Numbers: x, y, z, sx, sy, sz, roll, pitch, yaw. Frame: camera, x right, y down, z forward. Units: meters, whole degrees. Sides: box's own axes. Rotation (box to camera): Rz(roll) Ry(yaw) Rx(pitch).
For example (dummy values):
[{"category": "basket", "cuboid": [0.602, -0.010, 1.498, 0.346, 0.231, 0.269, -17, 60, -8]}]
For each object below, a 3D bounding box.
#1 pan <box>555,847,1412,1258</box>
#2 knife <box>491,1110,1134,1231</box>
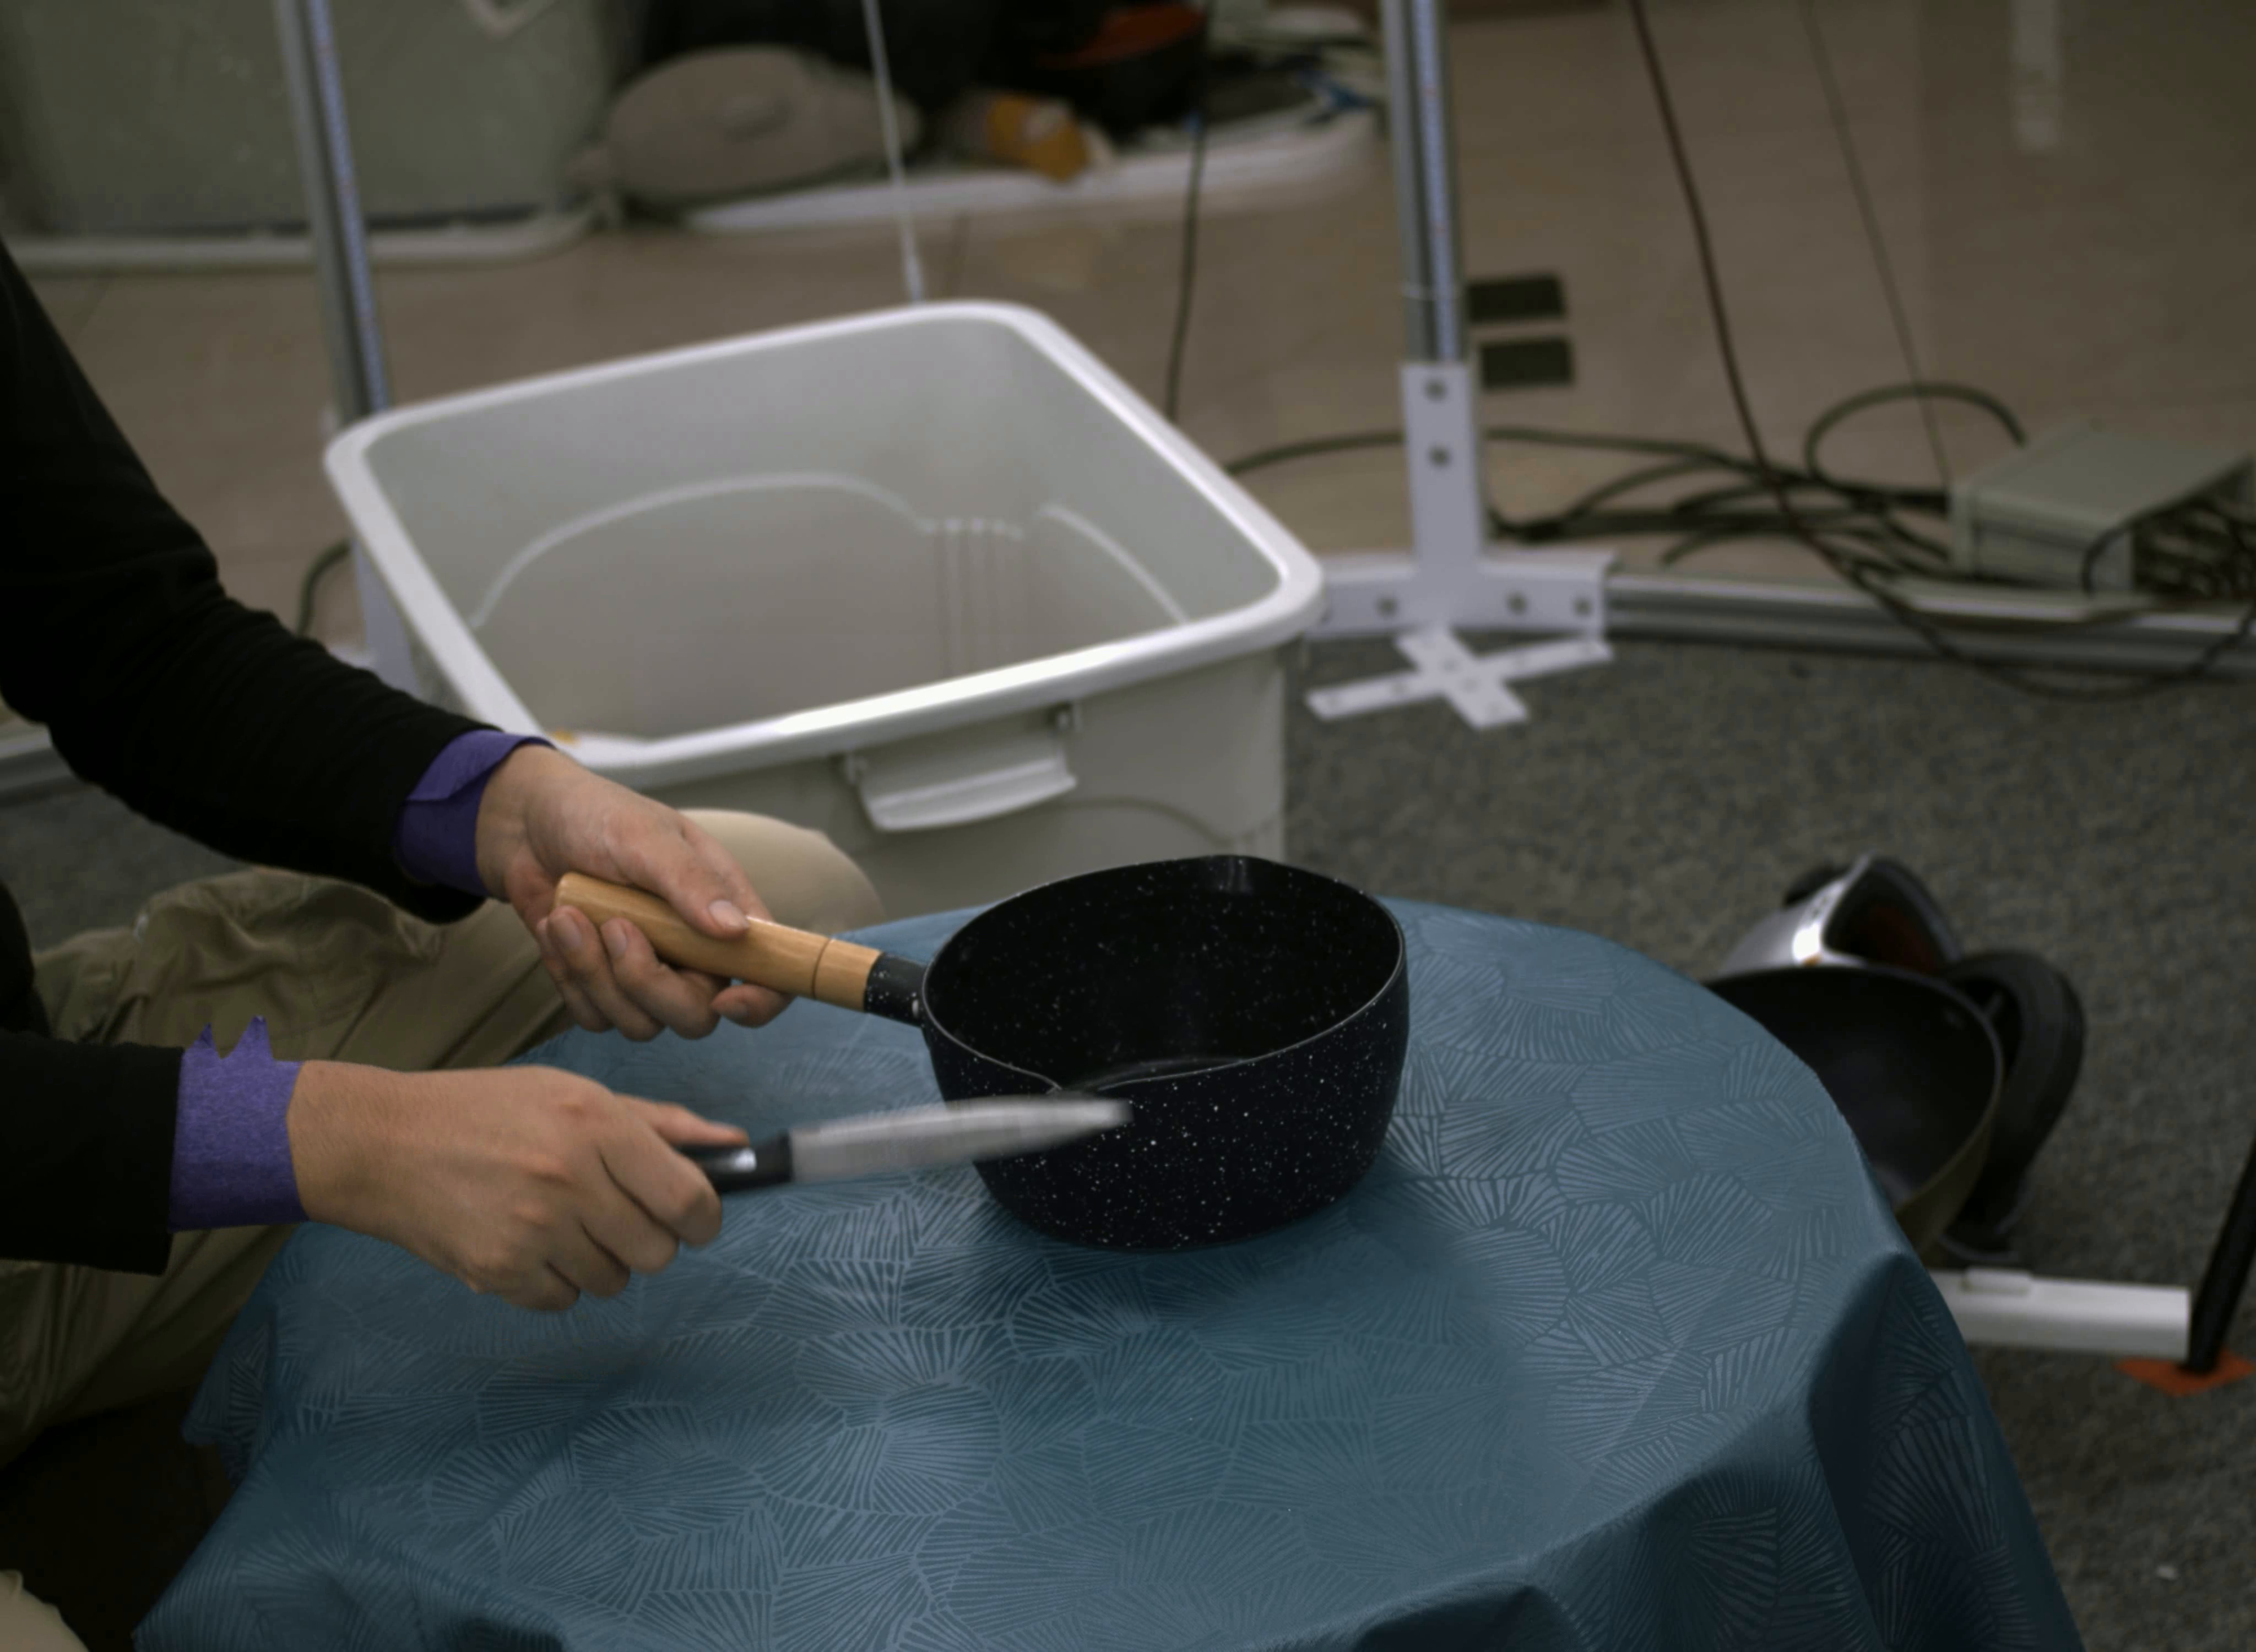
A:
[{"category": "pan", "cuboid": [-0.059, 0.077, 2.170, 0.342, 0.110, 0.204, 4, 27, 18]}, {"category": "knife", "cuboid": [-0.114, 0.123, 2.036, 0.238, 0.016, 0.024, -8, 55, 8]}]
